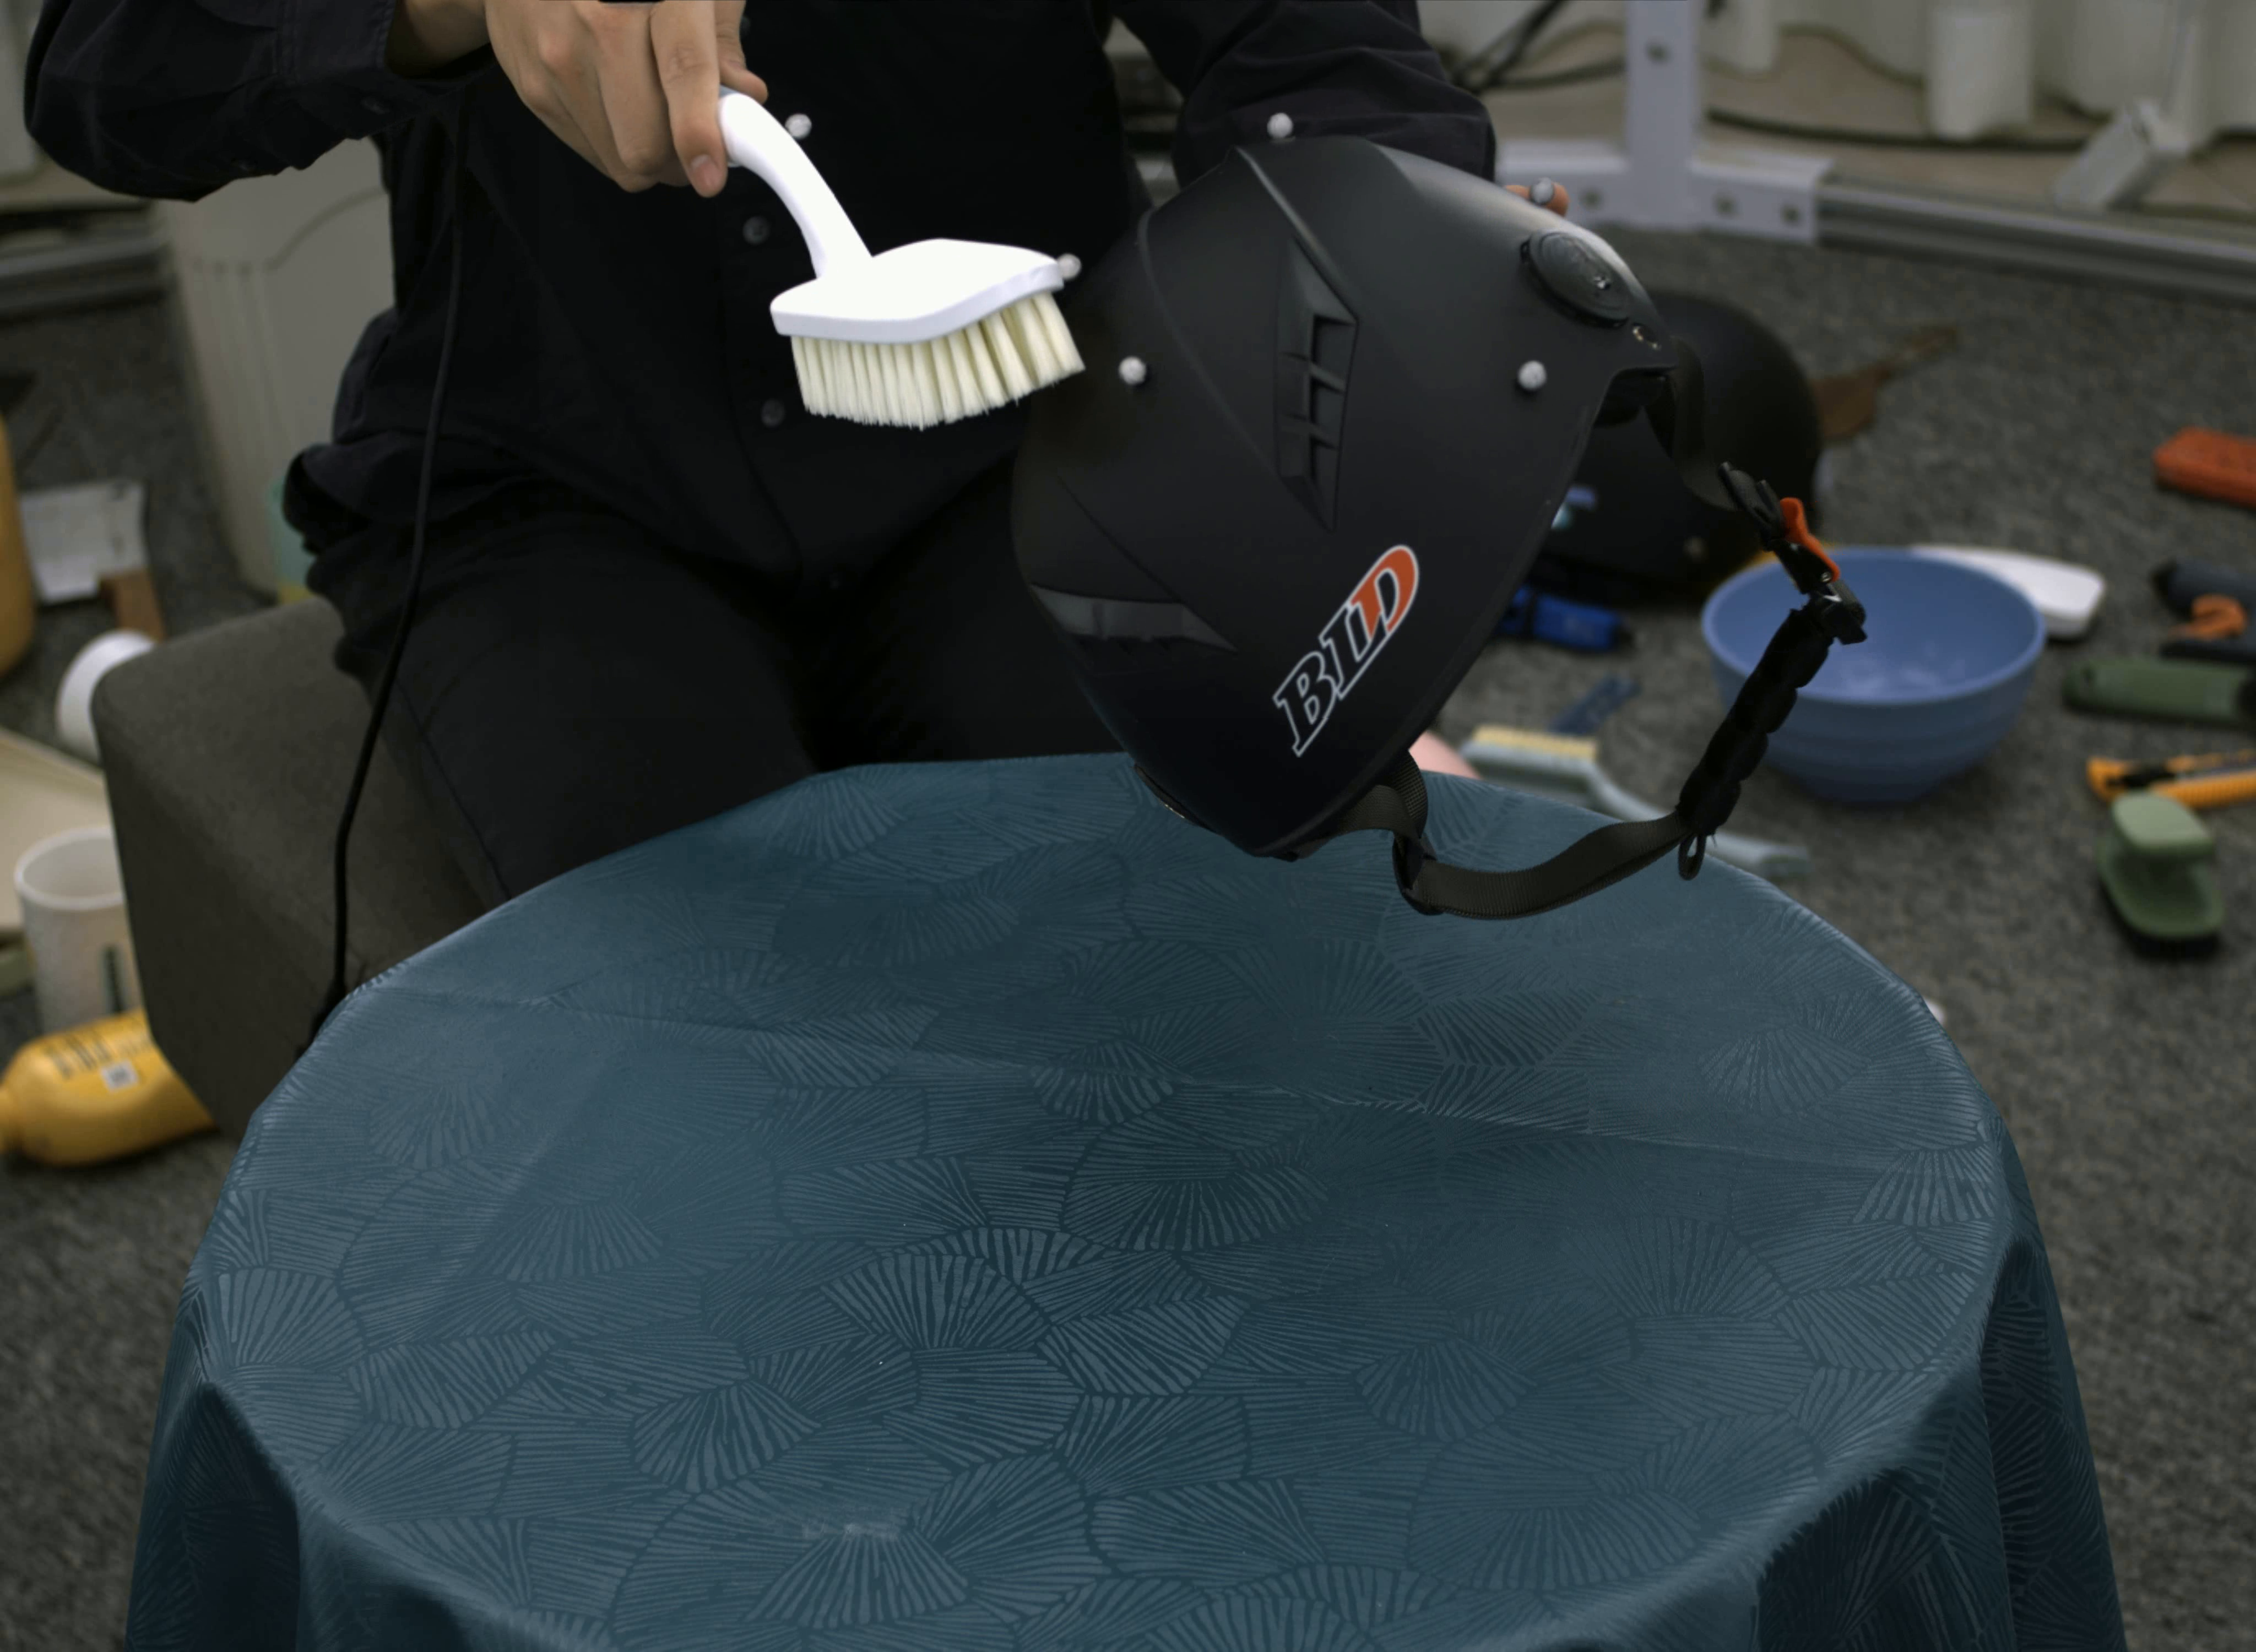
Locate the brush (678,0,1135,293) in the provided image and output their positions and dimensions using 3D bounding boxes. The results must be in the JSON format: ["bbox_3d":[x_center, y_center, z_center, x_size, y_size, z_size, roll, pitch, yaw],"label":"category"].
[{"bbox_3d":[-0.092,-0.231,1.891,0.083,0.084,0.326,18,8,-38],"label":"brush"}]

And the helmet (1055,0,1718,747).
[{"bbox_3d":[0.068,-0.165,1.825,0.172,0.244,0.281,31,22,-12],"label":"helmet"}]
